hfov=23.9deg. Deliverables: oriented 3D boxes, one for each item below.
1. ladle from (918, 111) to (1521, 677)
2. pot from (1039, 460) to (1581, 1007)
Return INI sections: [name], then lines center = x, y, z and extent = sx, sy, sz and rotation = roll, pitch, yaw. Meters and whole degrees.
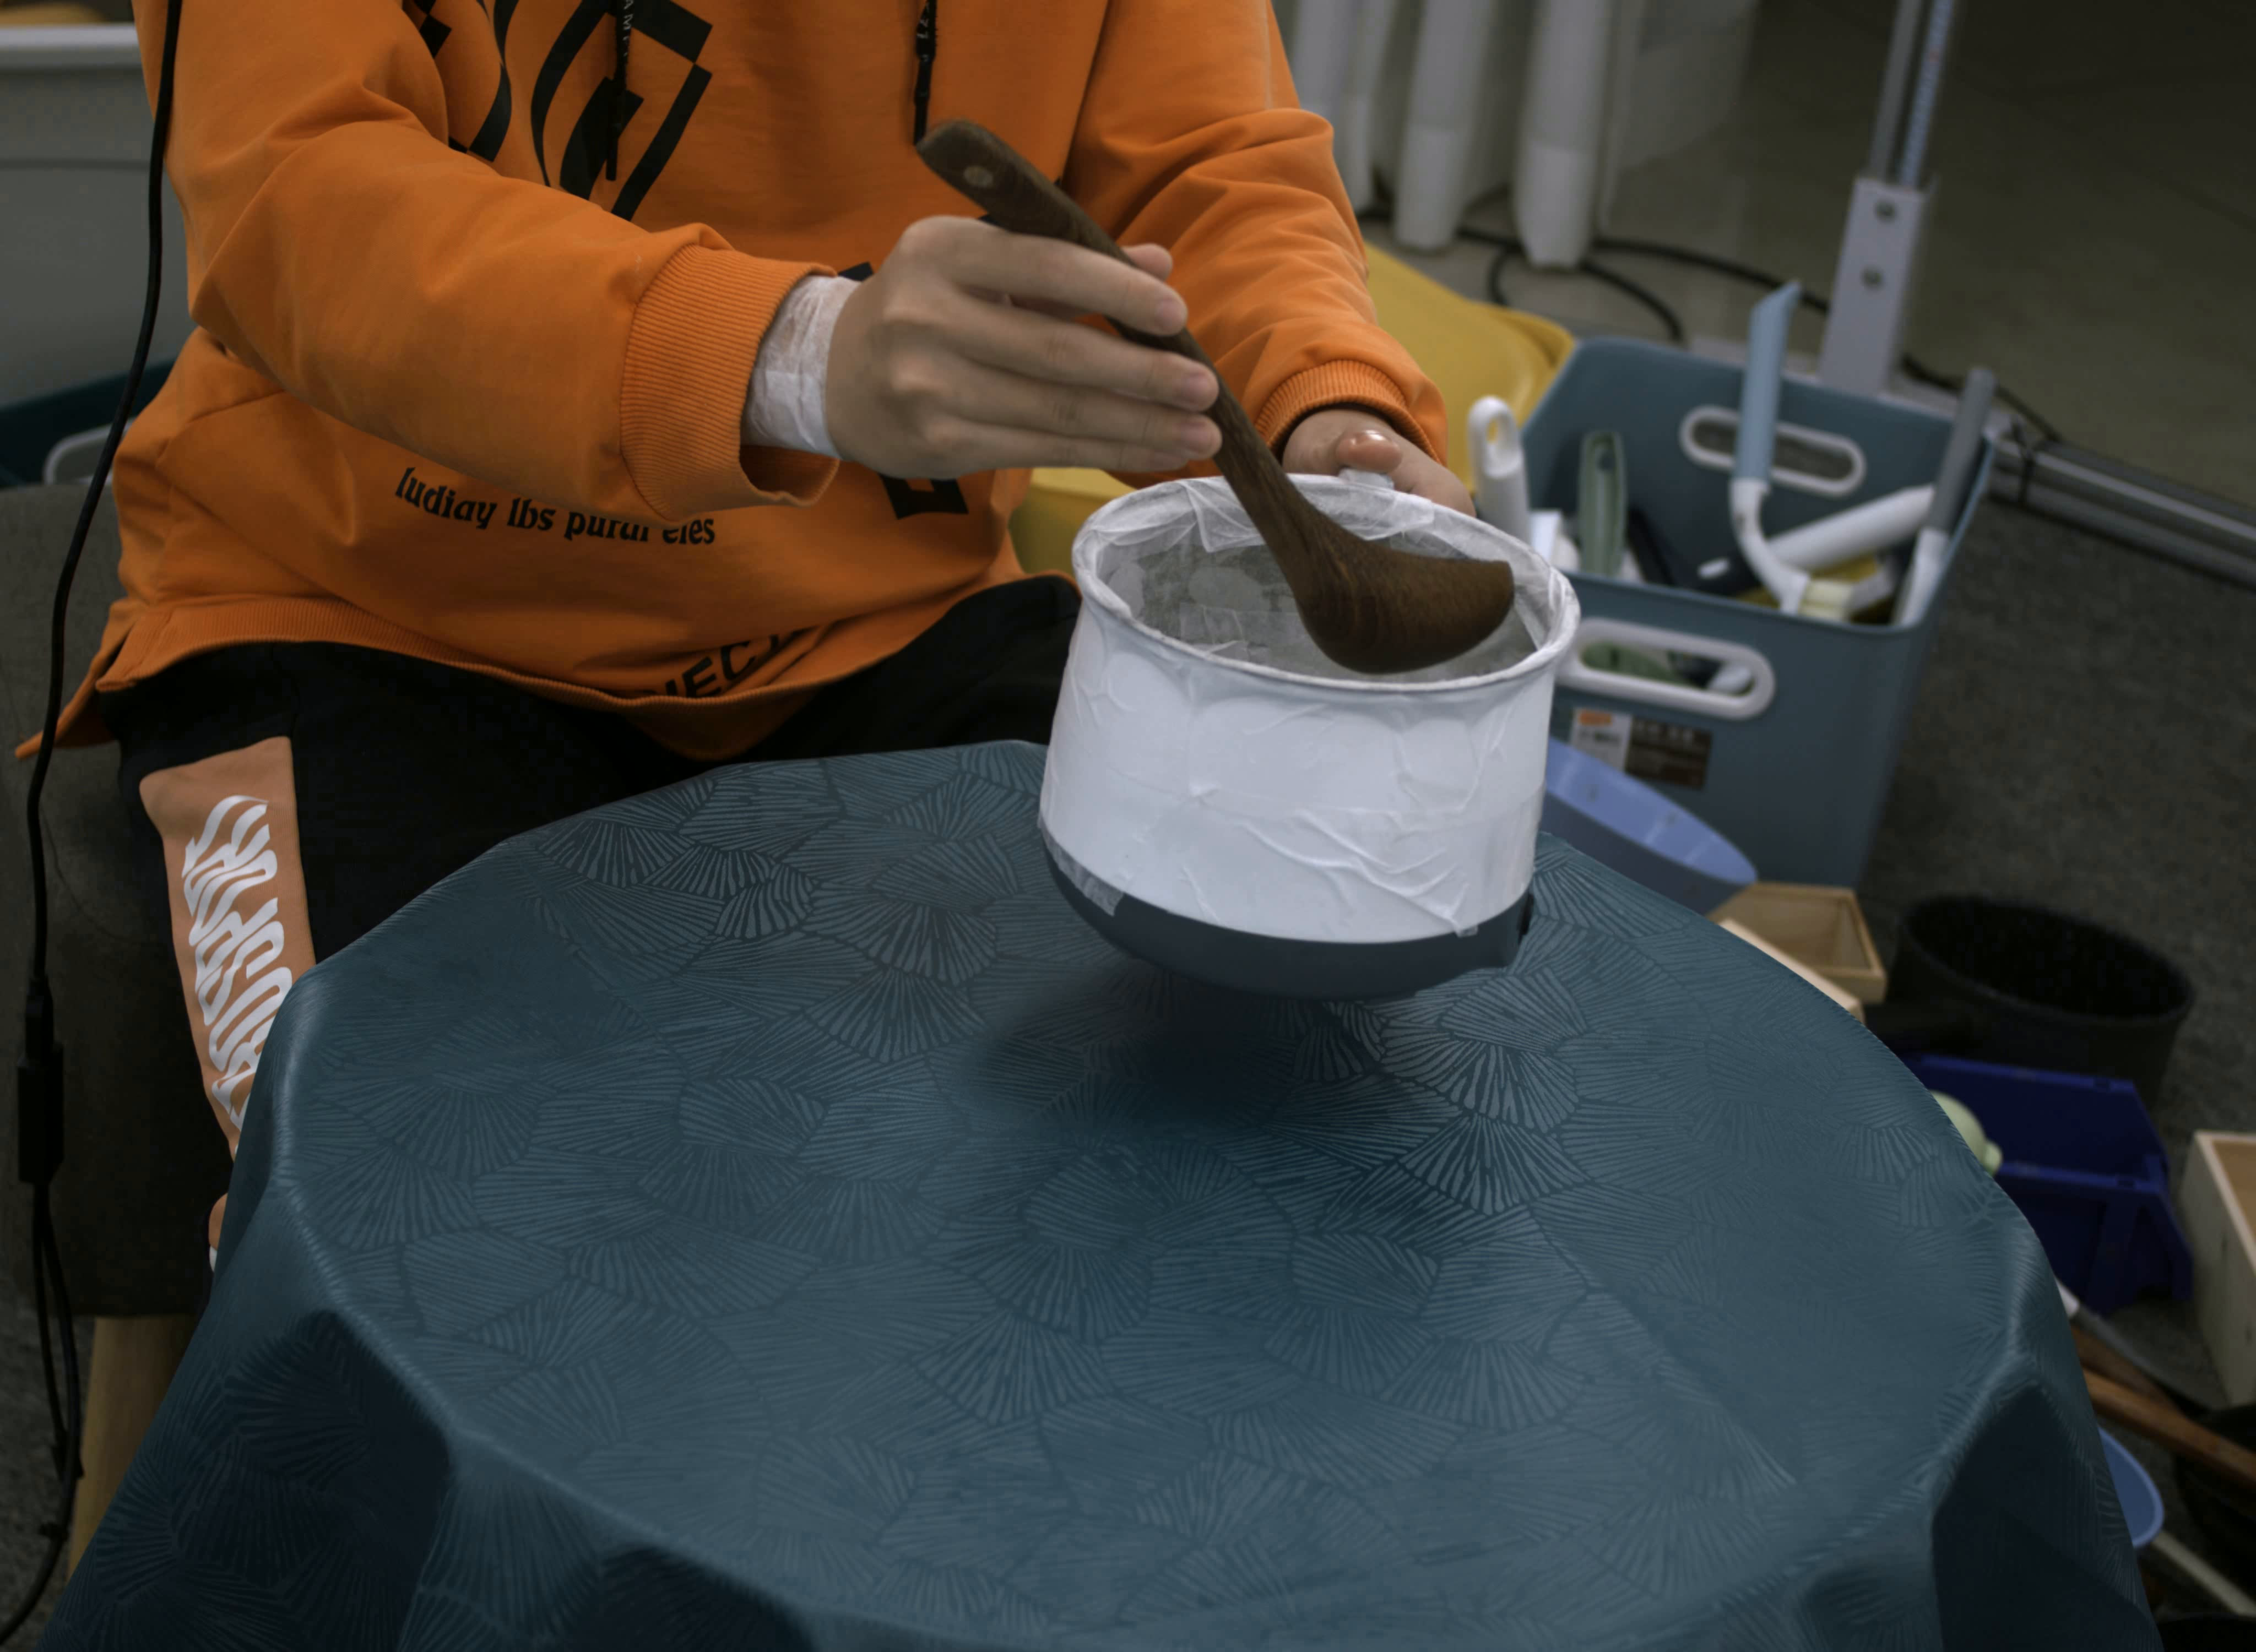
[ladle]
center = 0.031, -0.152, 1.794
extent = 0.076, 0.272, 0.071
rotation = -26, 25, 36
[pot]
center = 0.064, -0.041, 1.882
extent = 0.178, 0.136, 0.234
rotation = 10, 26, 5
